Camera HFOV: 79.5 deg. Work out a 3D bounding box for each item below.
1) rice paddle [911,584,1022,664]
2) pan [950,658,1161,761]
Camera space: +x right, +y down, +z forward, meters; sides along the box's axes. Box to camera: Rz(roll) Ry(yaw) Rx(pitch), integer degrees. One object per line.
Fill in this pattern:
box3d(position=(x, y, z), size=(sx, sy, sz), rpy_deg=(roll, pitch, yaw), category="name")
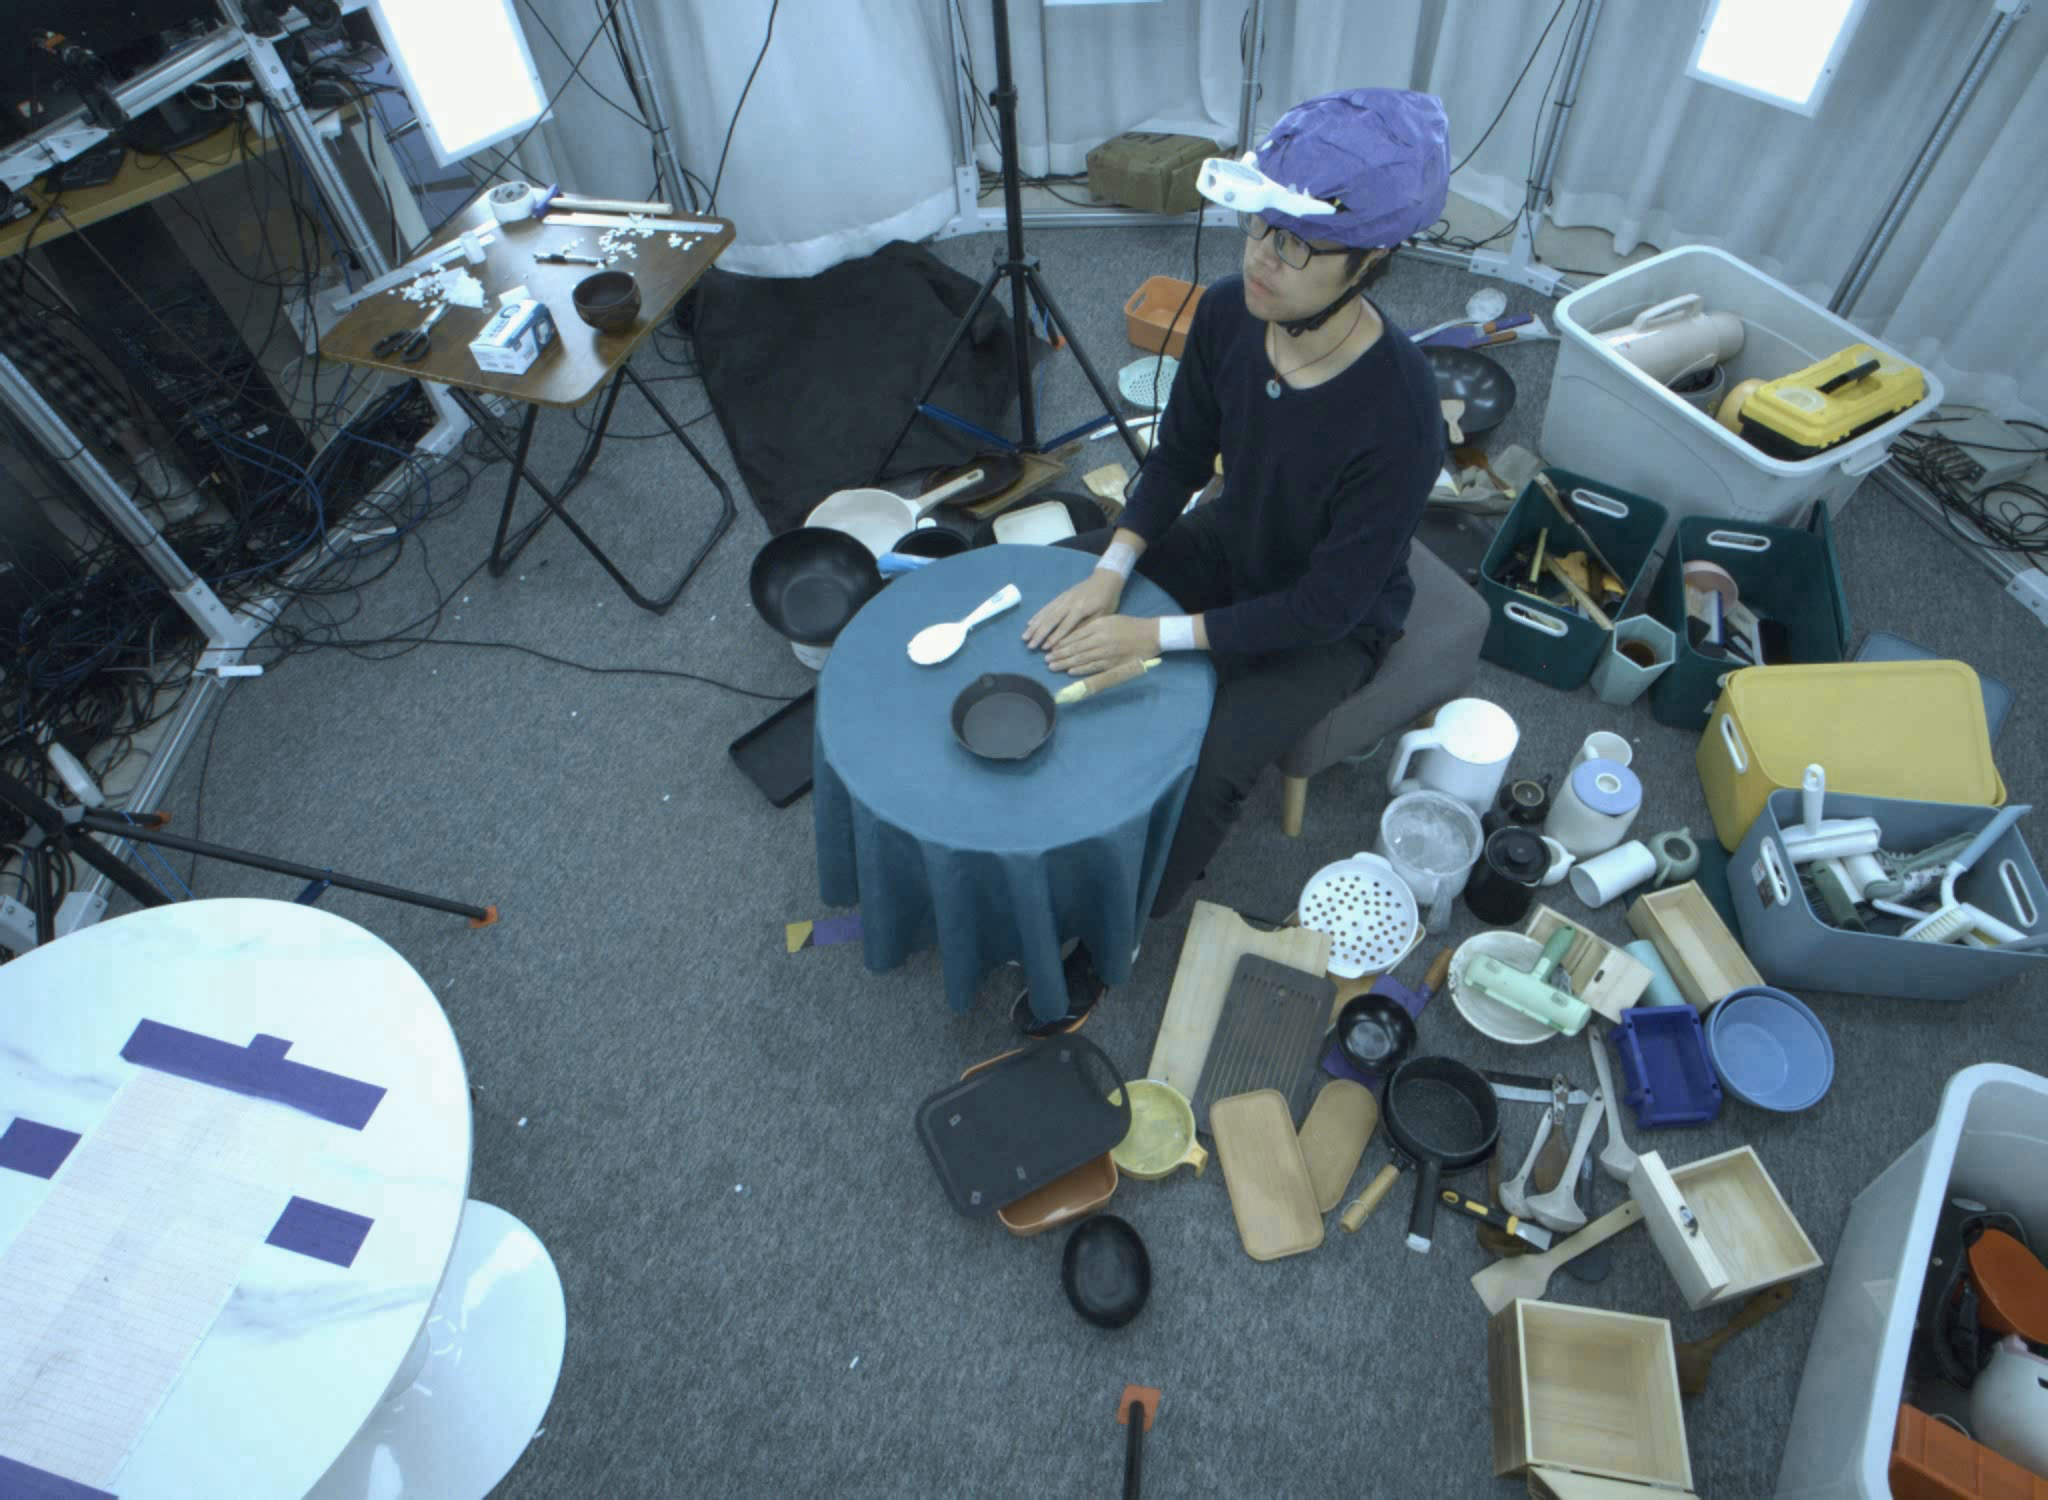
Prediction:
box3d(position=(-0.091, -0.196, 1.911), size=(0.207, 0.030, 0.067), rpy_deg=(-36, 59, -21), category="rice paddle")
box3d(position=(0.050, -0.073, 1.806), size=(0.326, 0.050, 0.166), rpy_deg=(-18, 56, -8), category="pan")
